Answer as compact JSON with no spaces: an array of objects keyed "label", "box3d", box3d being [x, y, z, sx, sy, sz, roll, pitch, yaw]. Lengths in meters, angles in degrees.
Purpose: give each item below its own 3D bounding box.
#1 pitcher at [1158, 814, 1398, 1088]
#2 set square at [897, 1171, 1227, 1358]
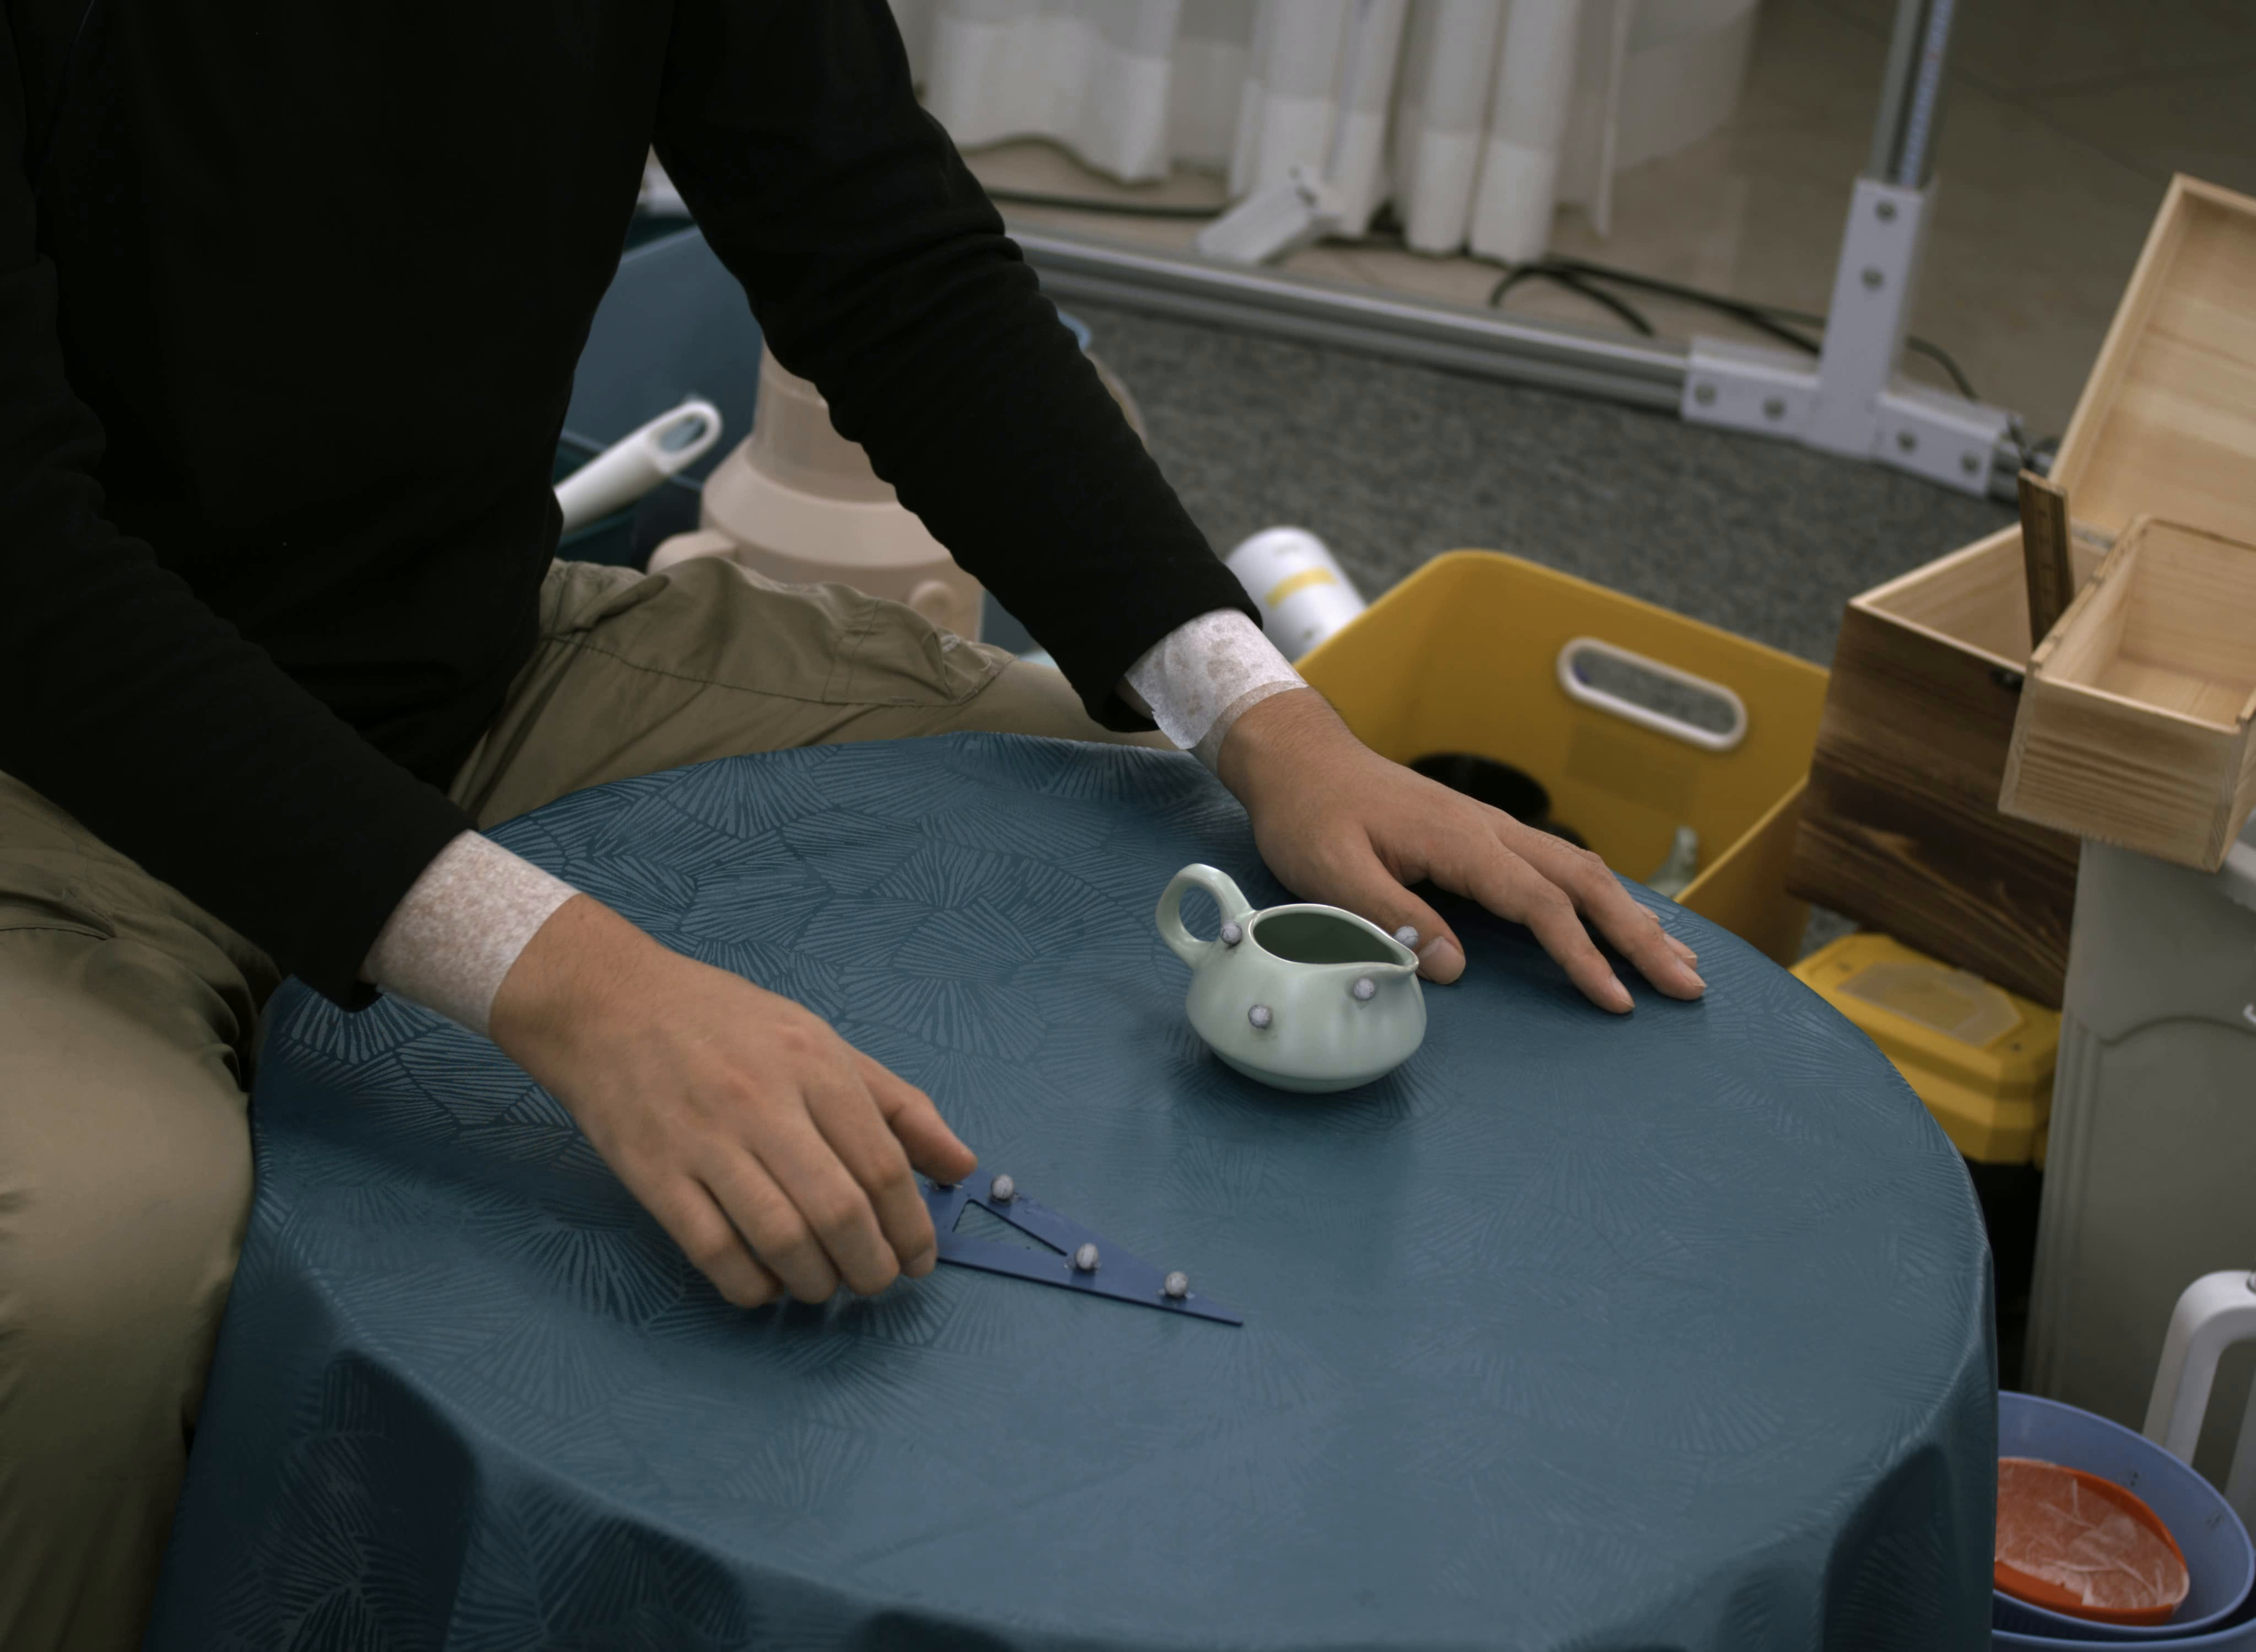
[{"label":"pitcher","box3d":[0.048,0.045,1.892,0.085,0.060,0.109,-23,56,-30]},{"label":"set square","box3d":[-0.029,0.148,1.742,0.061,0.006,0.133,-17,35,-41]}]
